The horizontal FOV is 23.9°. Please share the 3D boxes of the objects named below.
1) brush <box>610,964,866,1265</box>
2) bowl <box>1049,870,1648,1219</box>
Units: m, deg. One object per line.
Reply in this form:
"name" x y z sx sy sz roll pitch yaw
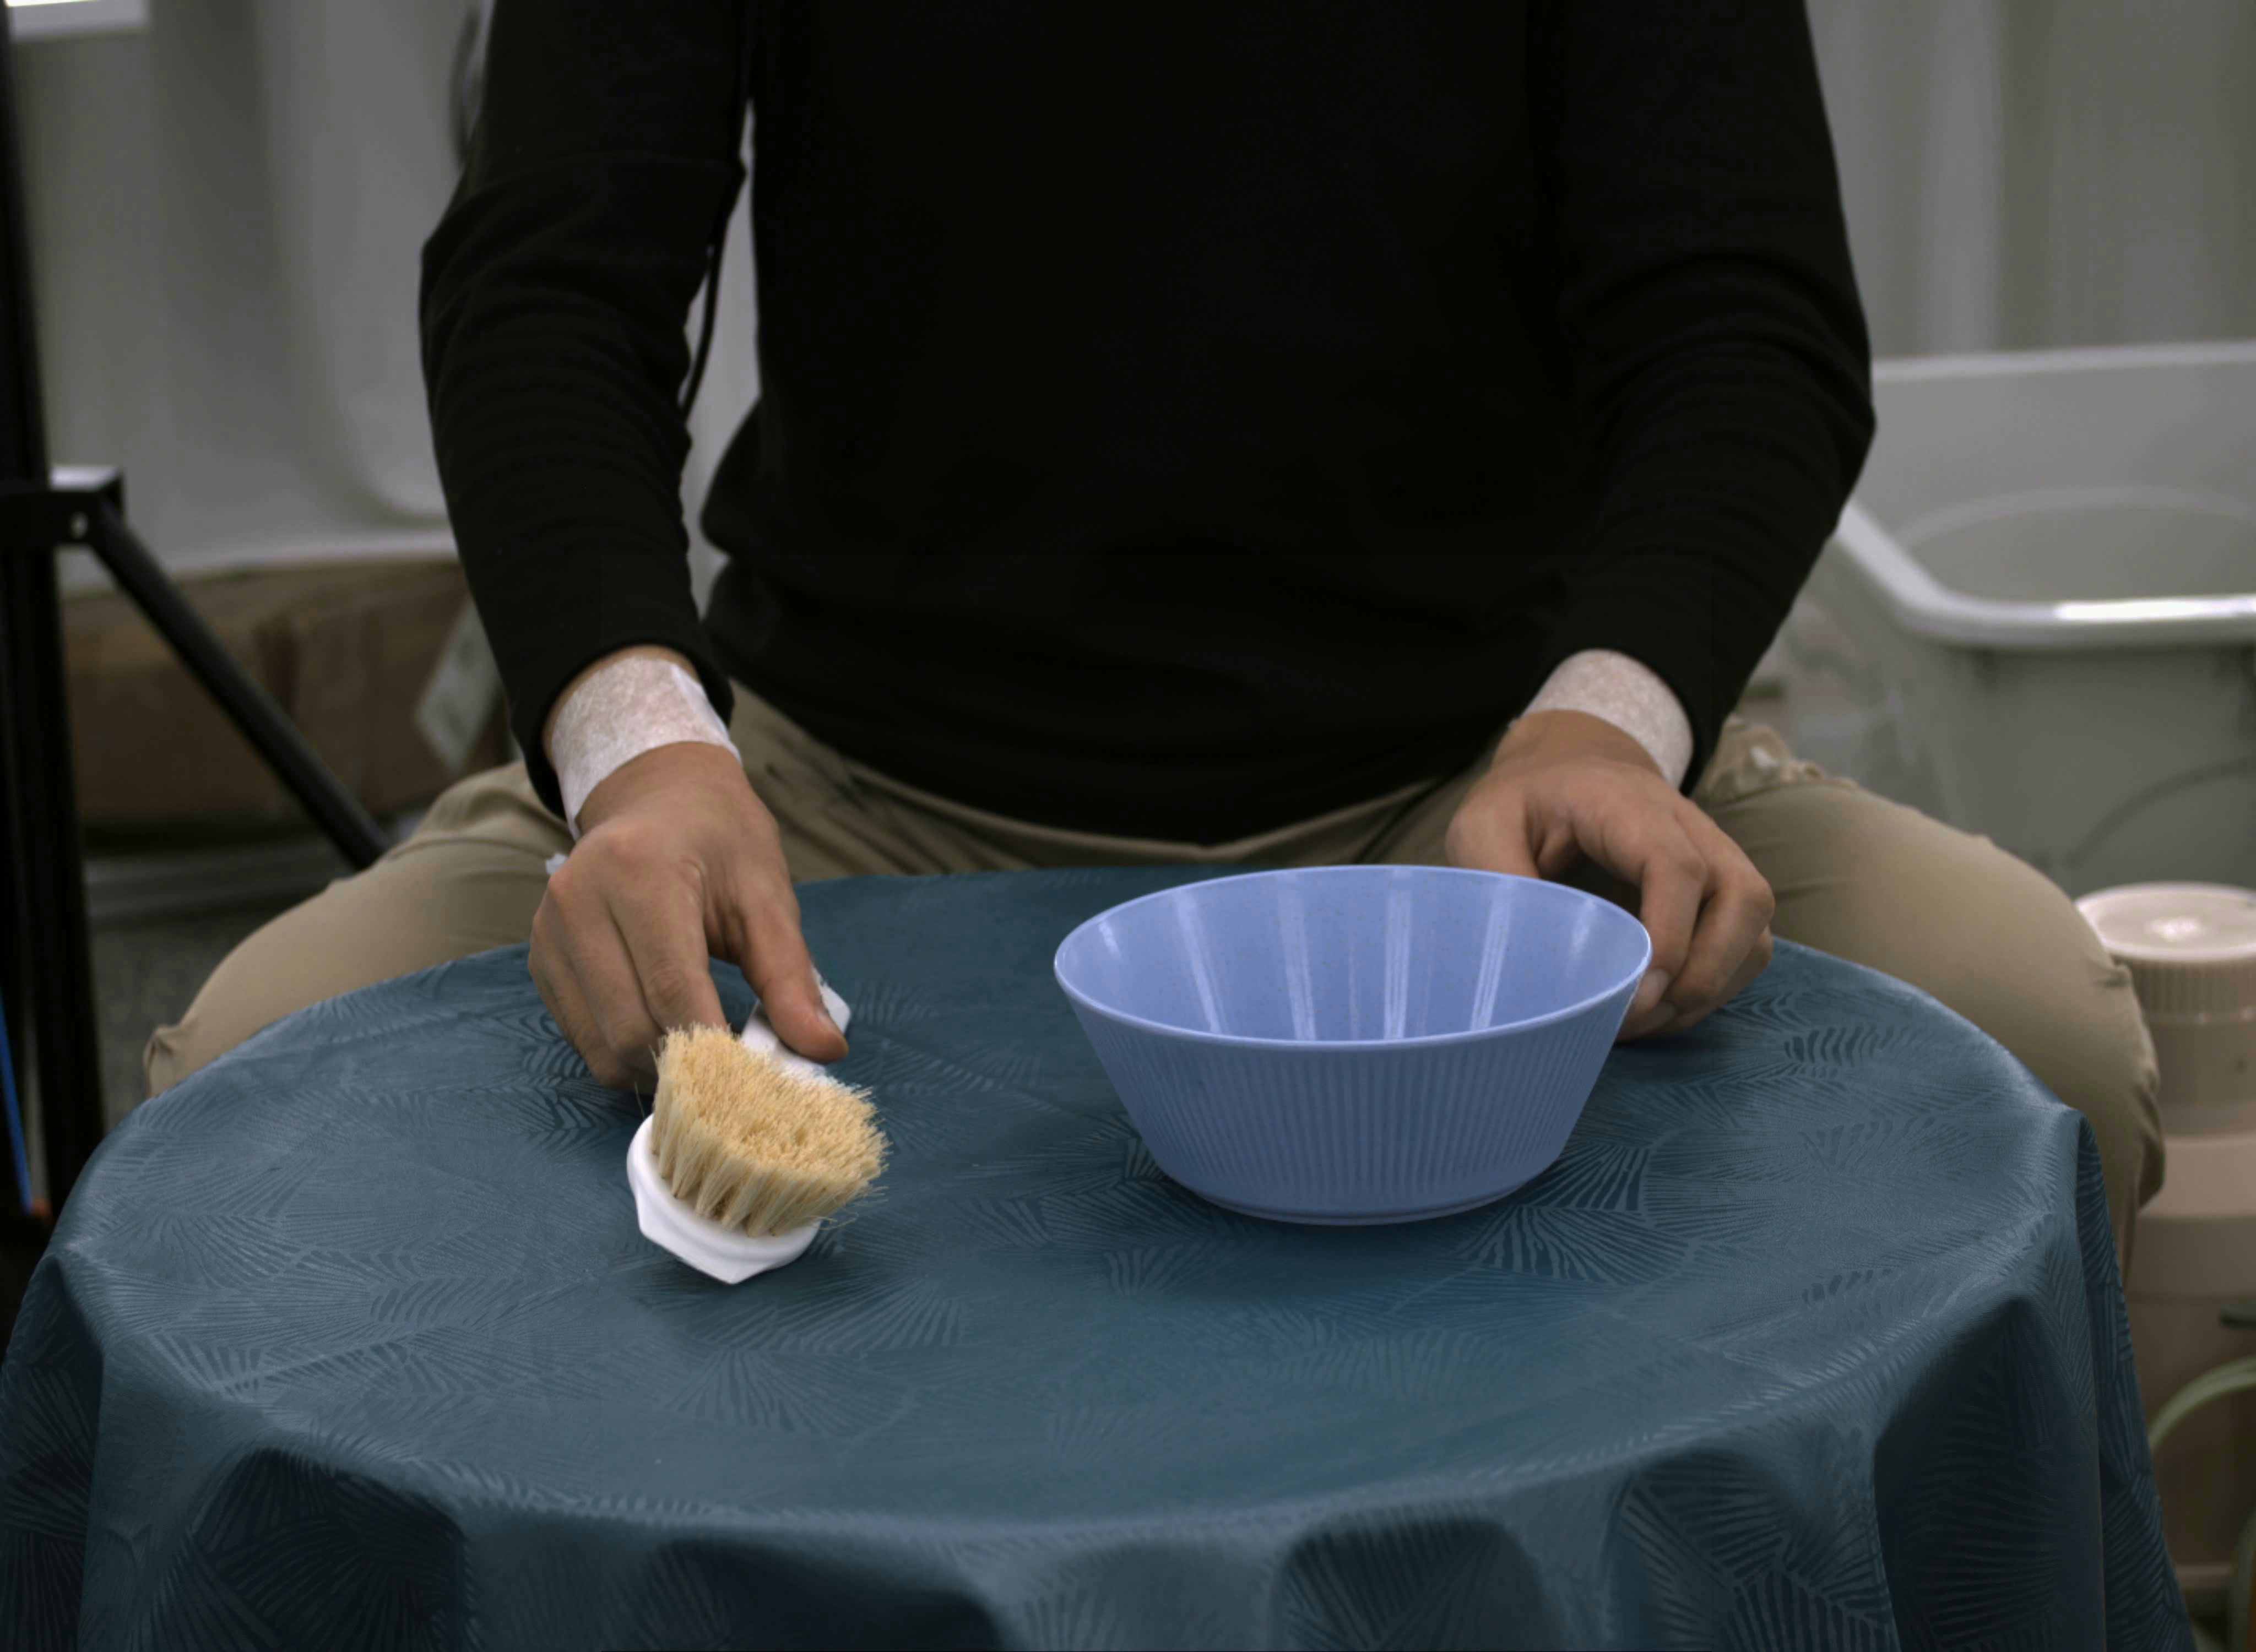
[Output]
"brush" -0.105 0.065 1.608 0.068 0.056 0.266 36 14 -4
"bowl" 0.065 0.066 1.562 0.175 0.070 0.177 -2 15 -1
